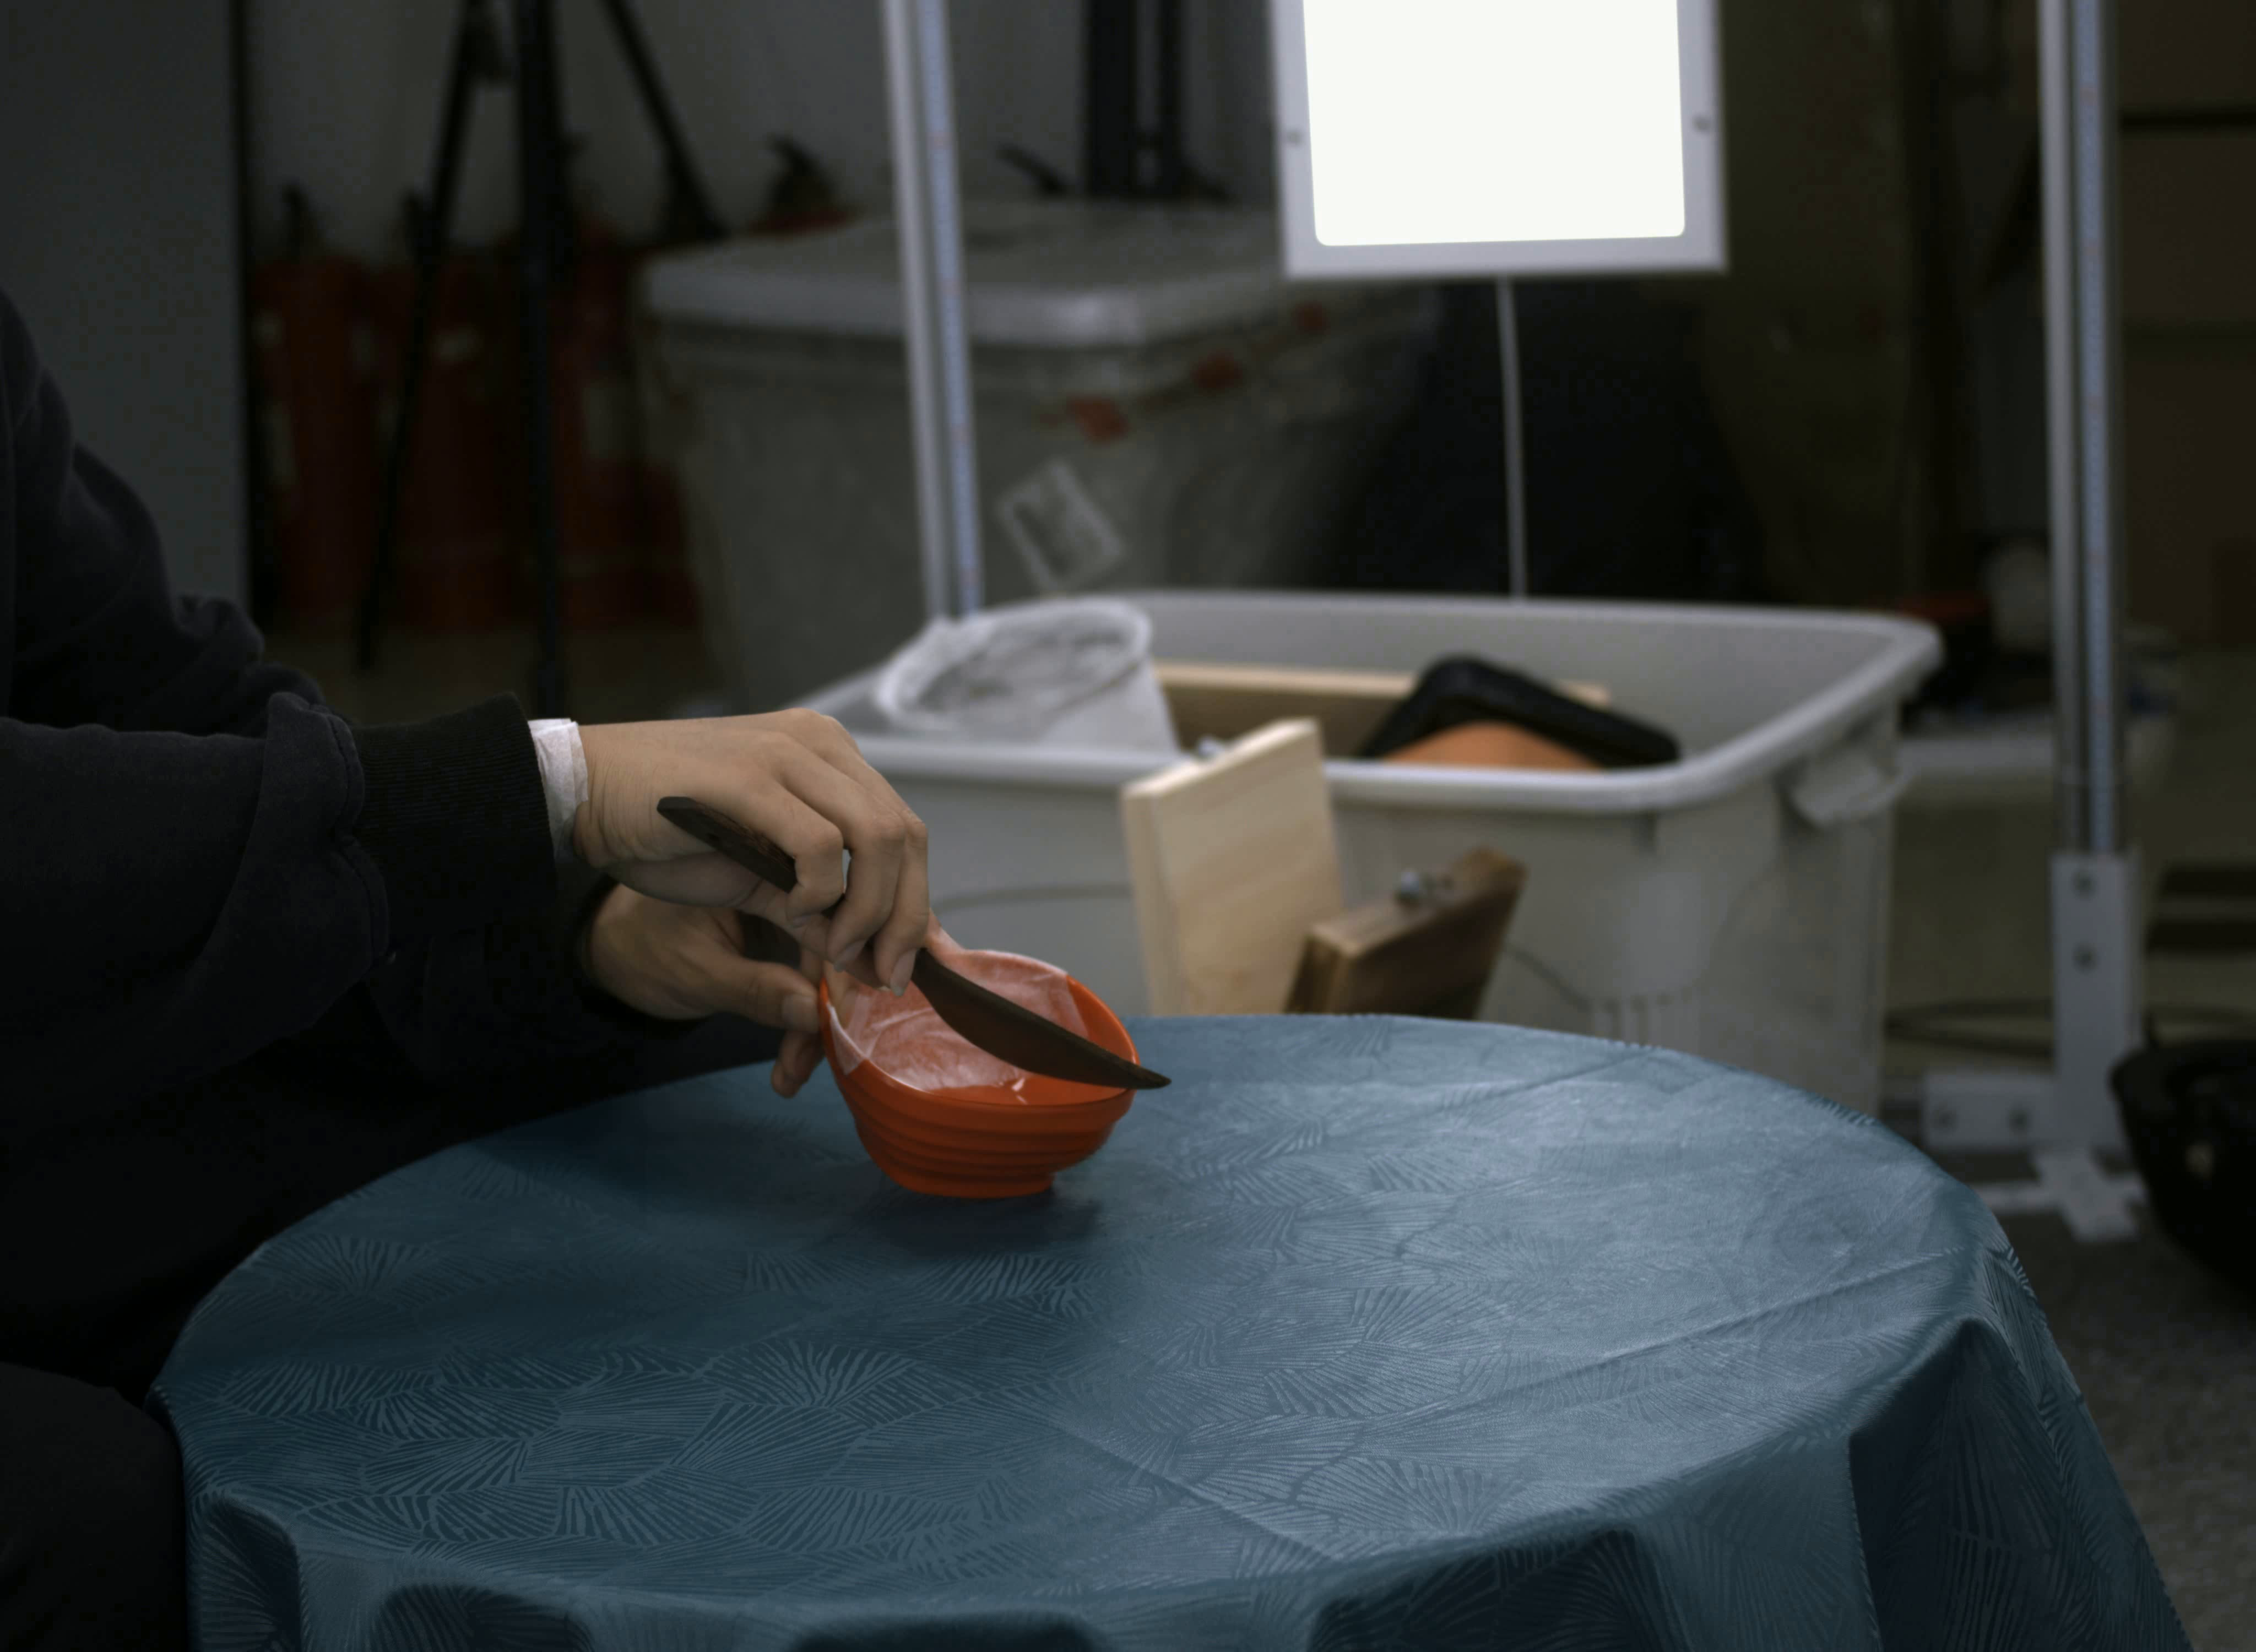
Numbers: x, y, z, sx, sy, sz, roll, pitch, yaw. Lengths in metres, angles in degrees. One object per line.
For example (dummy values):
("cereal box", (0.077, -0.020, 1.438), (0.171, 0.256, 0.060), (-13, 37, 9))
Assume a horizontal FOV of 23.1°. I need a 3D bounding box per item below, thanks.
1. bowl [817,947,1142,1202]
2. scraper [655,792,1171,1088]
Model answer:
("bowl", (-0.056, 0.091, 1.912), (0.118, 0.052, 0.118), (11, 27, -7))
("scraper", (-0.076, 0.041, 1.835), (0.208, 0.011, 0.077), (35, -20, -32))
